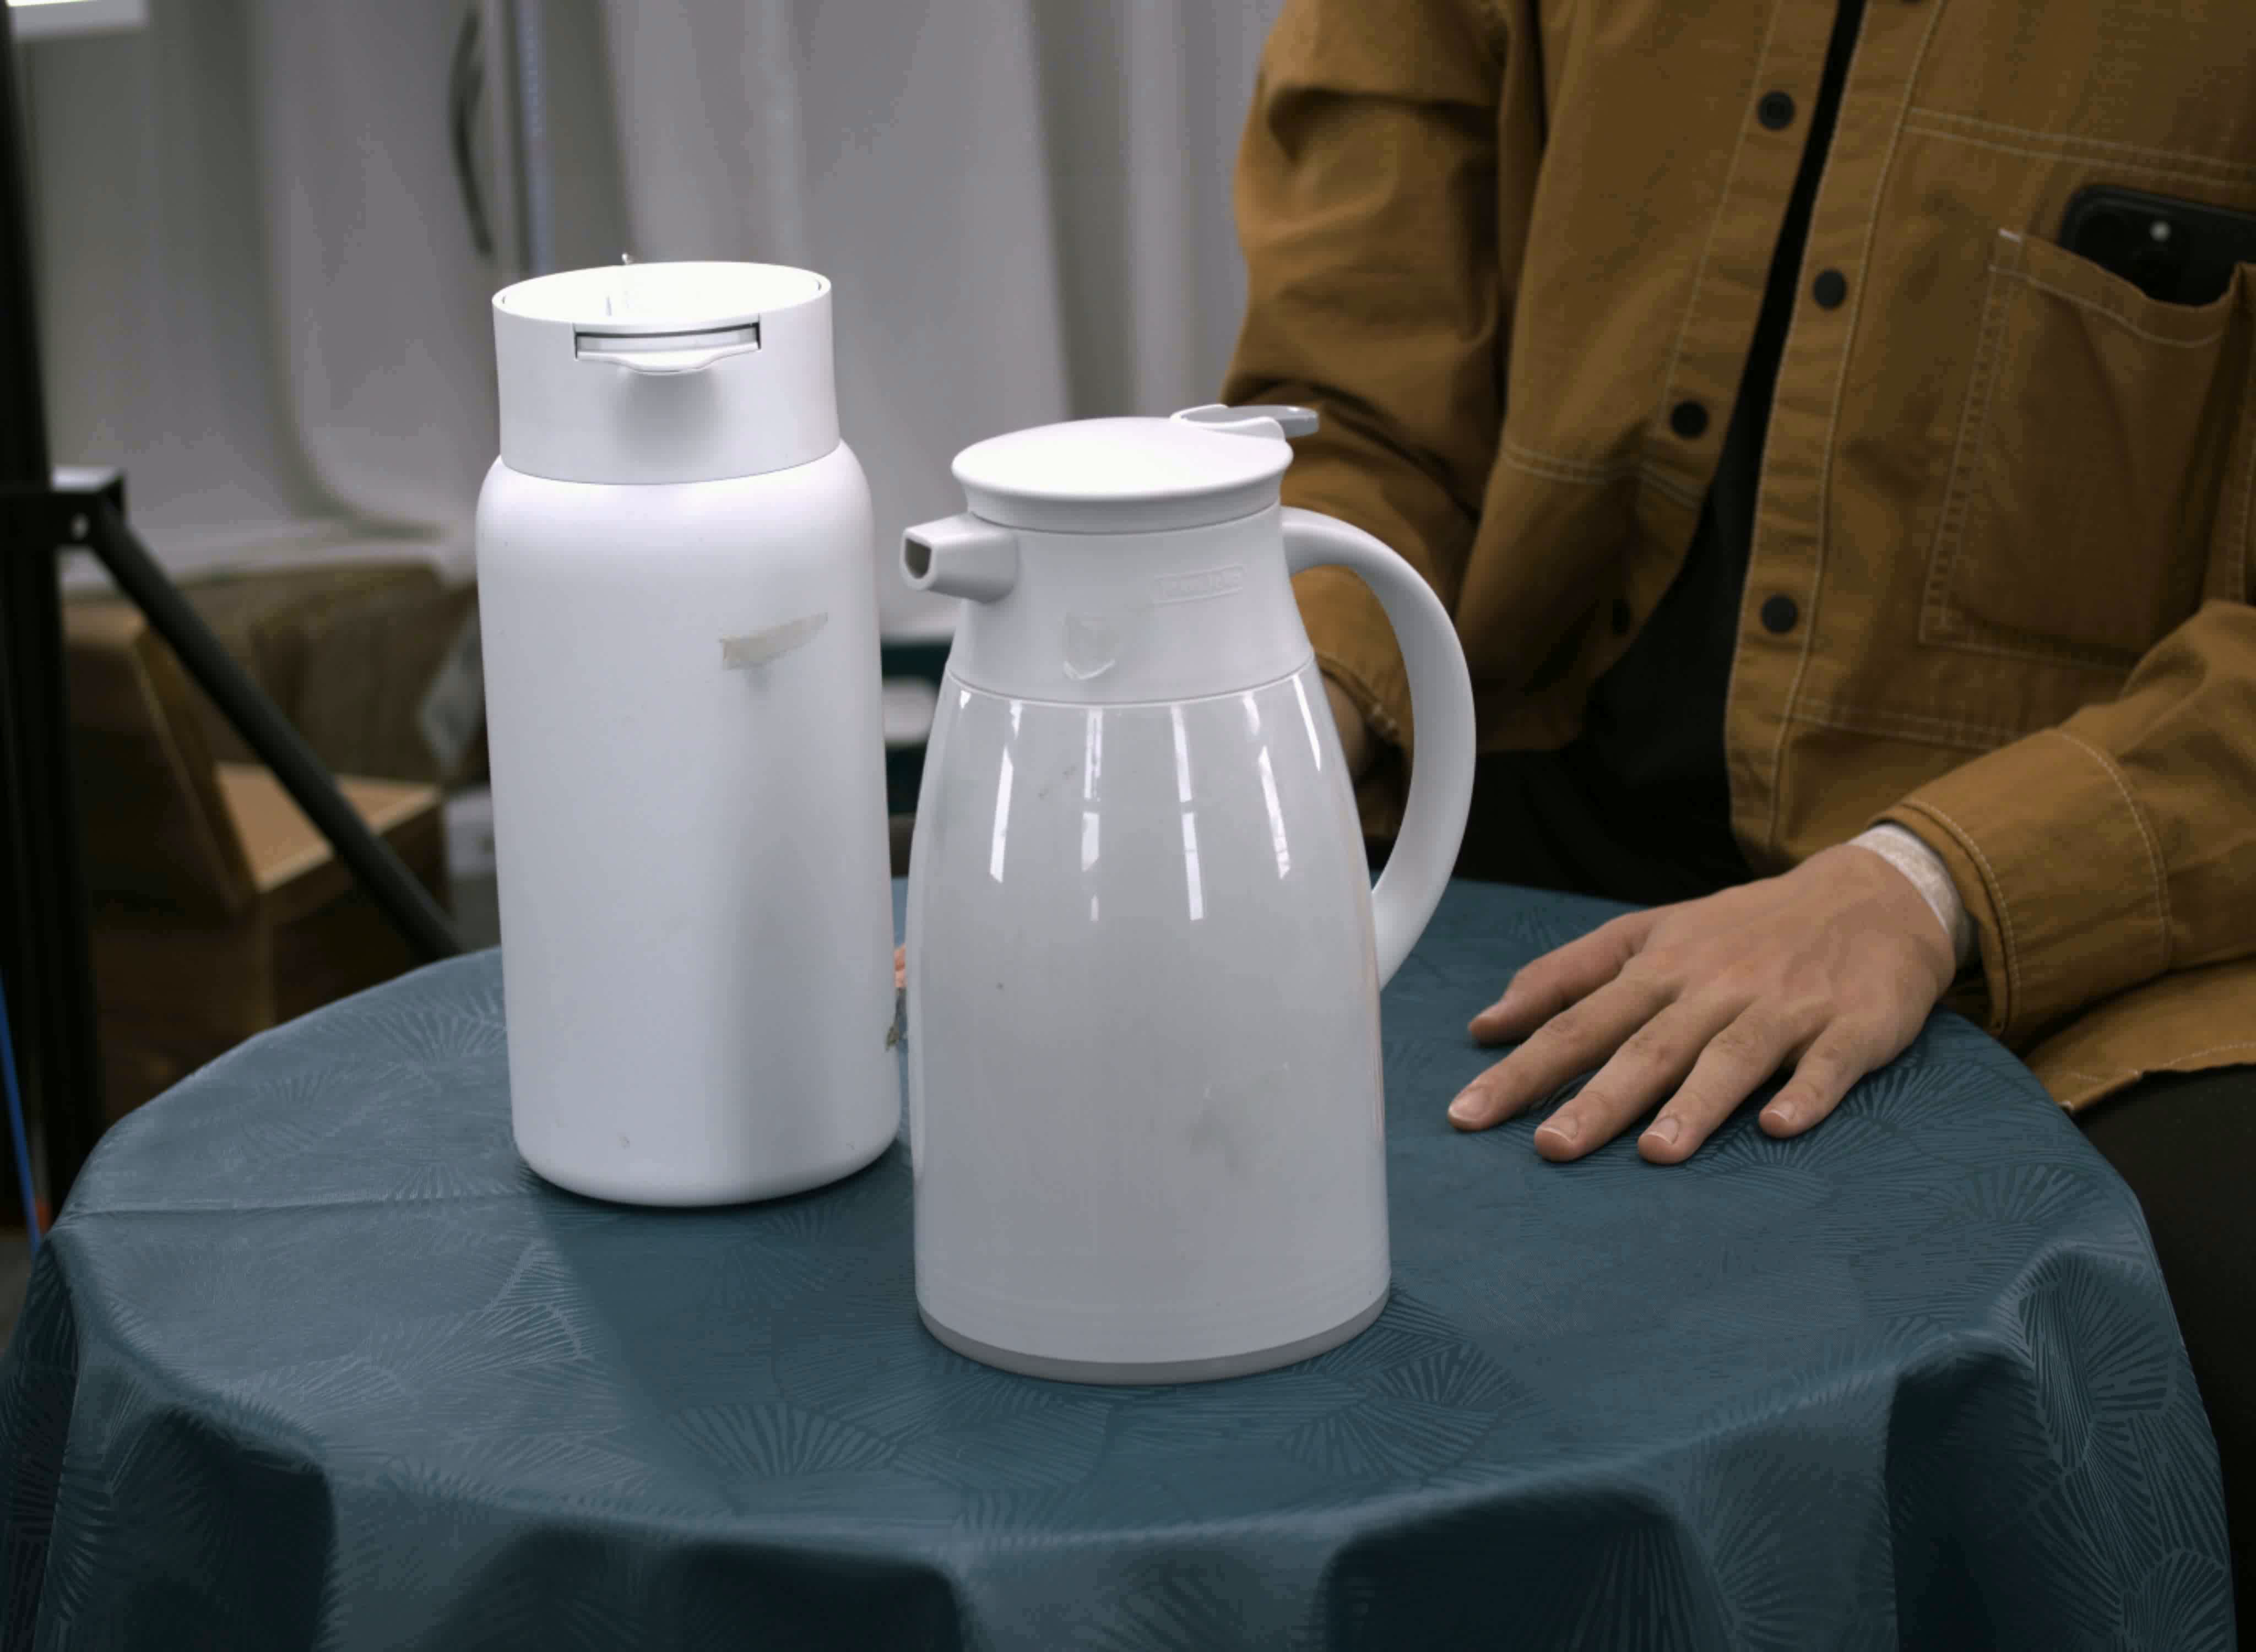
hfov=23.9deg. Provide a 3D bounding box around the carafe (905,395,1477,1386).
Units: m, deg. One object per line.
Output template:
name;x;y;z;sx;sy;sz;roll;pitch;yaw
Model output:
carafe;0.019;0.009;1.447;0.164;0.248;0.135;-9;16;-26

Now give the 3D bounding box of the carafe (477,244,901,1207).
carafe;-0.133;-0.034;1.590;0.123;0.269;0.174;-6;15;-5
